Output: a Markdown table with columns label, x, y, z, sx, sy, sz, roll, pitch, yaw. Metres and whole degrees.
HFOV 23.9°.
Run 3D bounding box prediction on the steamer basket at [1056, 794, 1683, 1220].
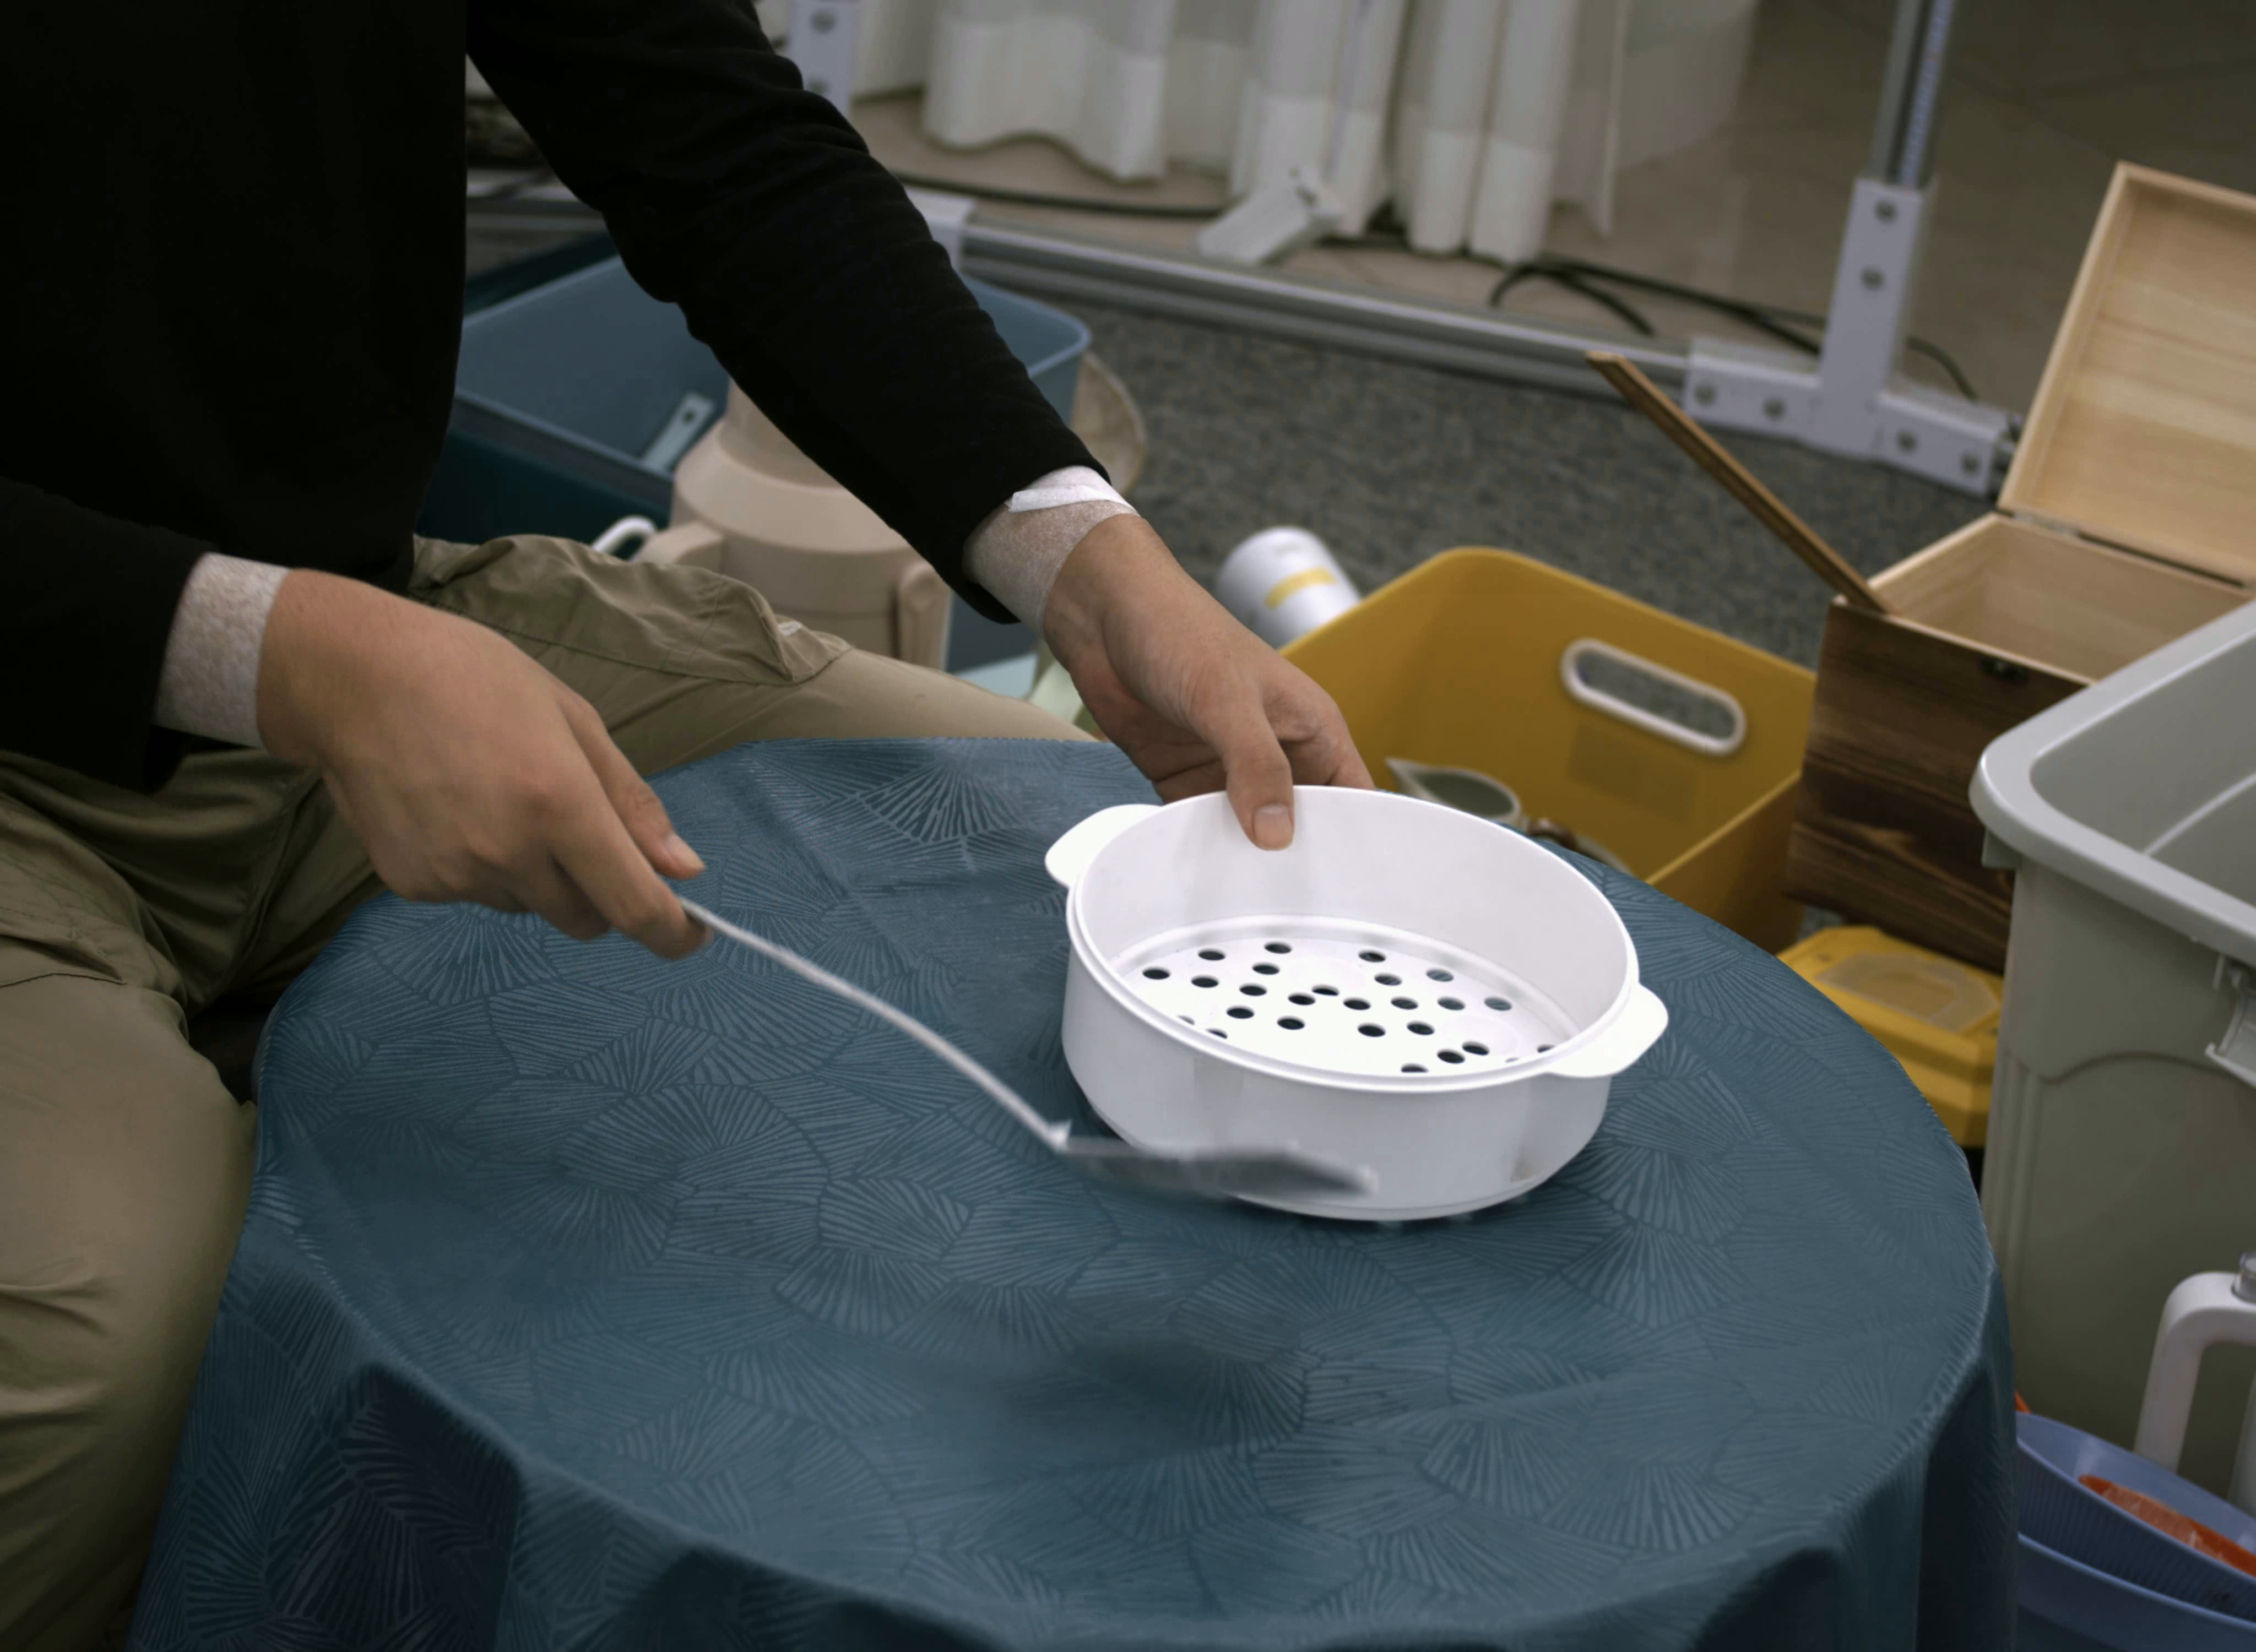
| label | x | y | z | sx | sy | sz | roll | pitch | yaw |
| --- | --- | --- | --- | --- | --- | --- | --- | --- | --- |
| steamer basket | 0.079 | 0.063 | 1.856 | 0.231 | 0.069 | 0.201 | 20 | 31 | 25 |

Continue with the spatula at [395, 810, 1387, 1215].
| label | x | y | z | sx | sy | sz | roll | pitch | yaw |
| --- | --- | --- | --- | --- | --- | --- | --- | --- | --- |
| spatula | -0.086 | 0.055 | 1.717 | 0.366 | 0.045 | 0.098 | 28 | 2 | 19 |
